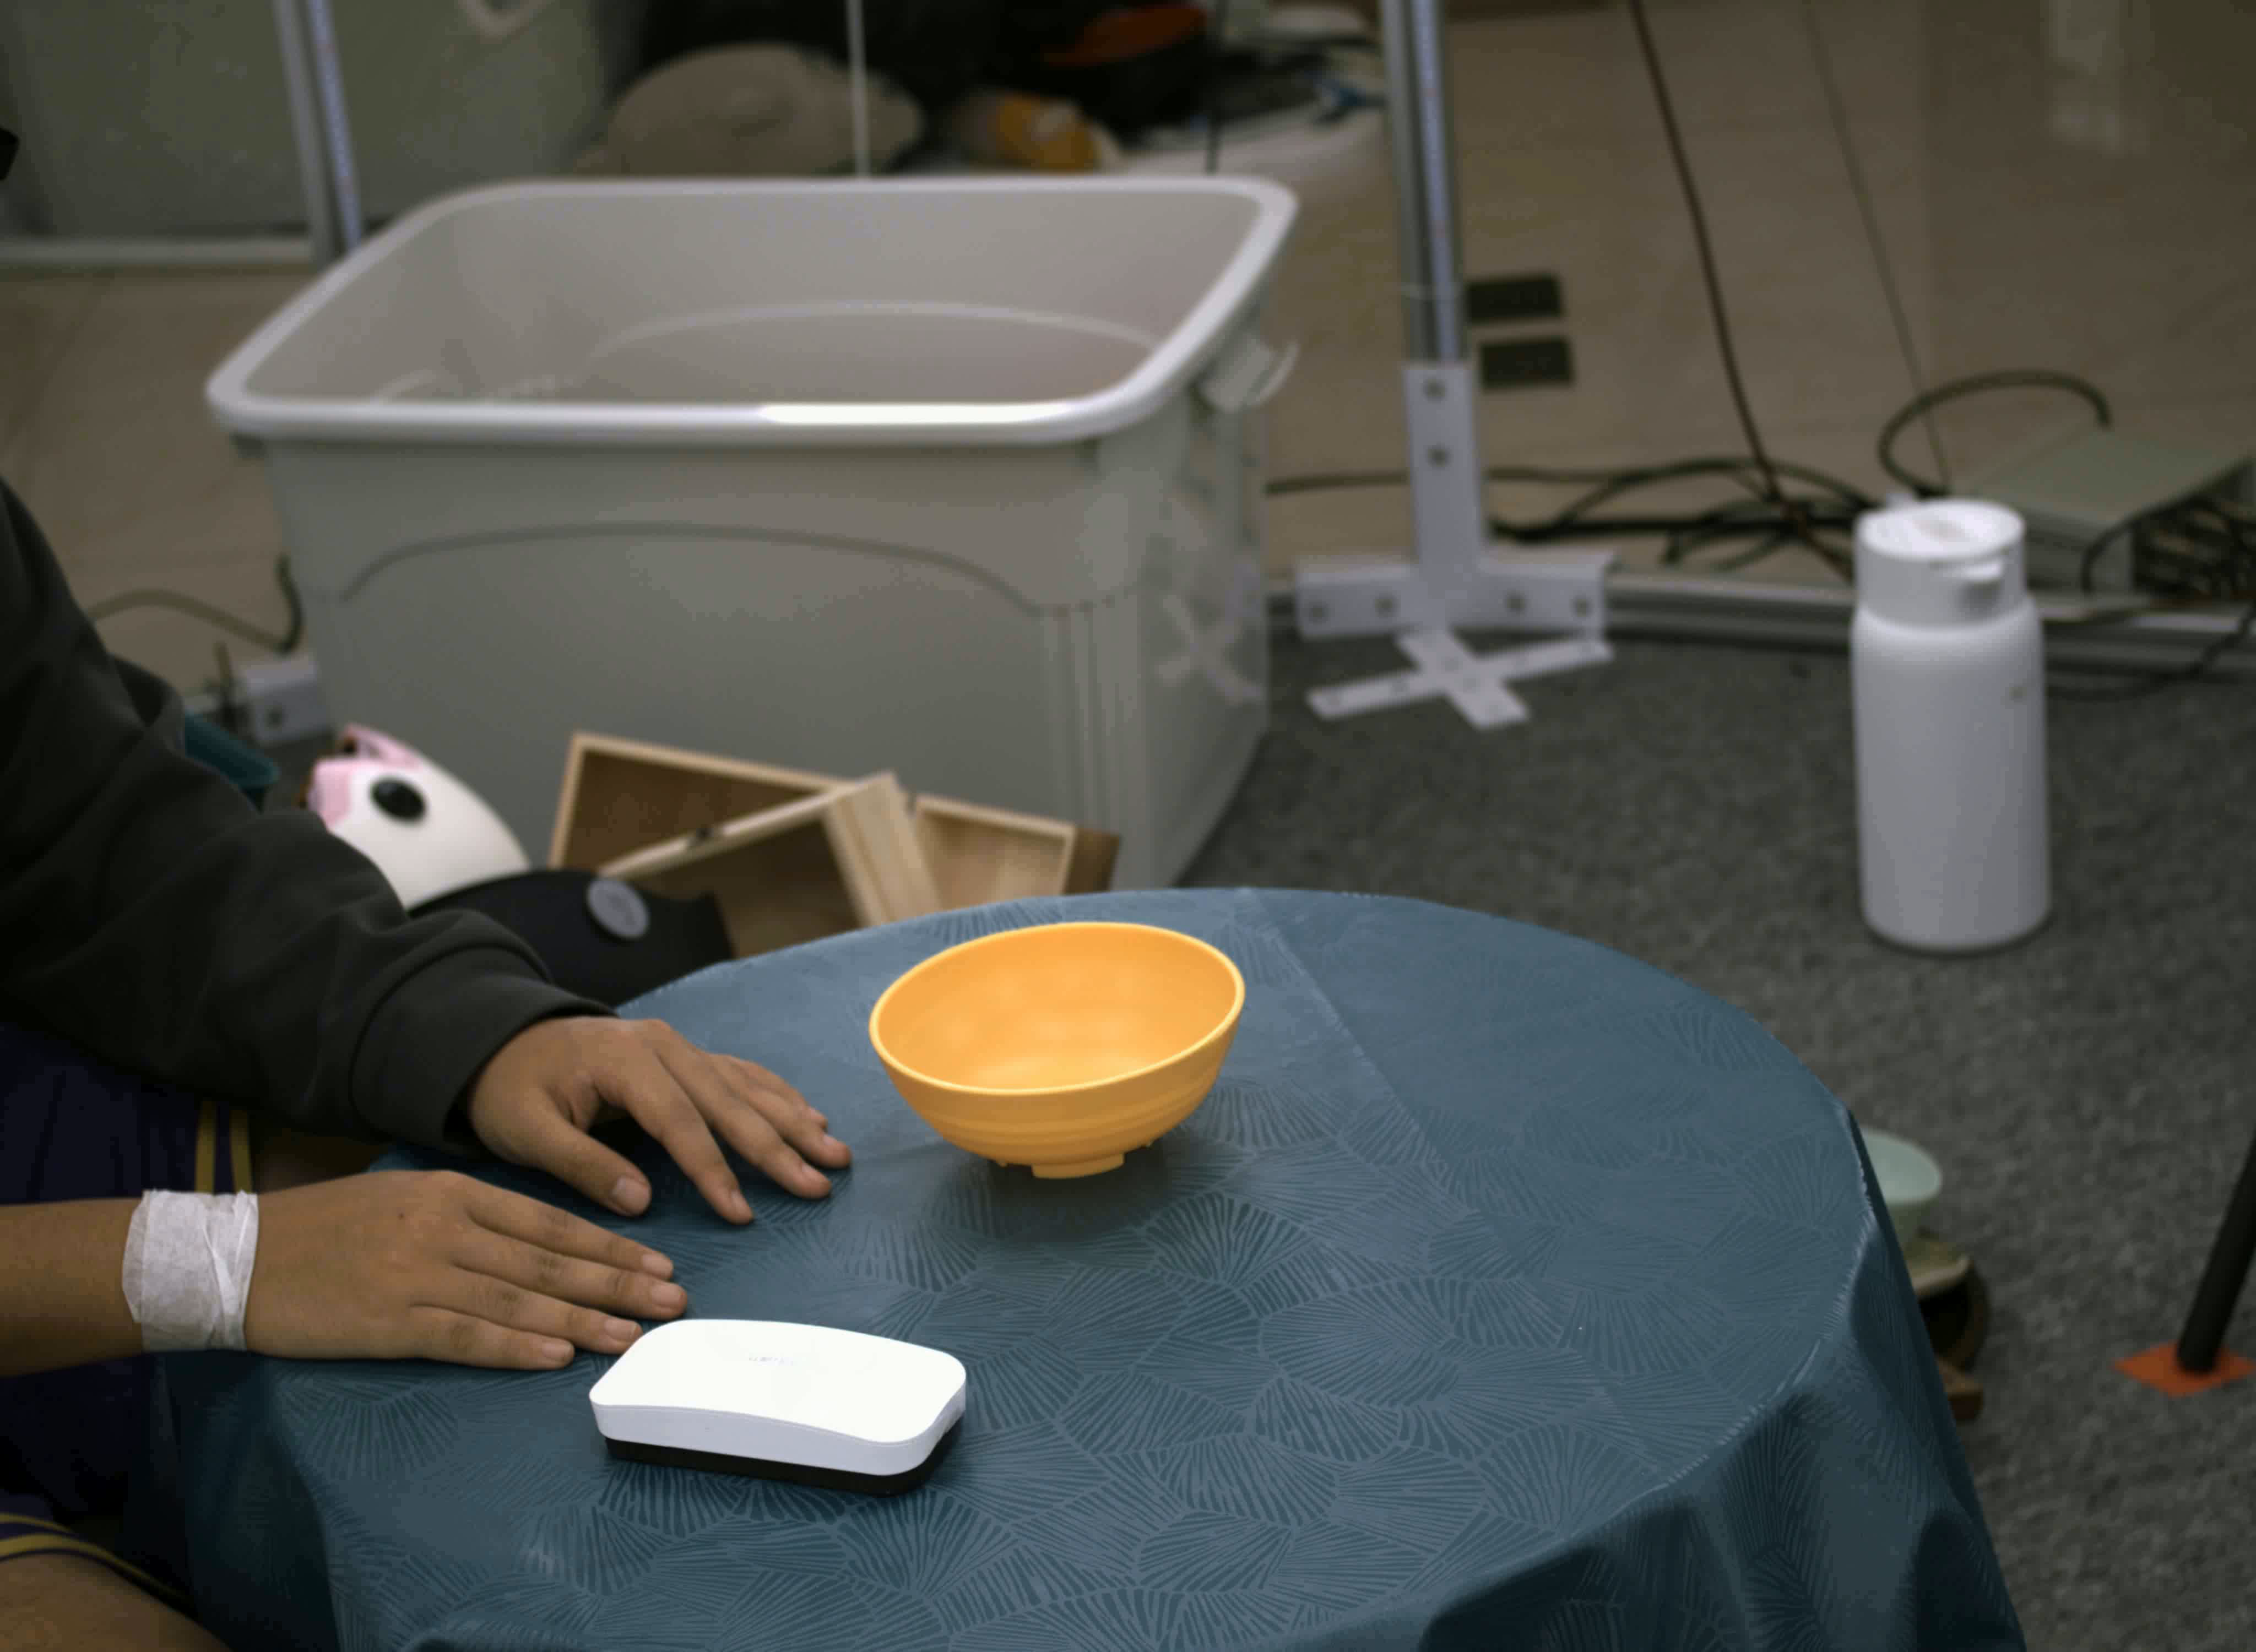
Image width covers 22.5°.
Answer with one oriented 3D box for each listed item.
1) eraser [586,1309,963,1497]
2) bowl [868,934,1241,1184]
[{"bbox_3d":[-0.124,0.202,2.003,0.131,0.035,0.062,7,27,23],"label":"eraser"},{"bbox_3d":[-0.025,0.097,2.179,0.145,0.061,0.143,-7,23,3],"label":"bowl"}]
